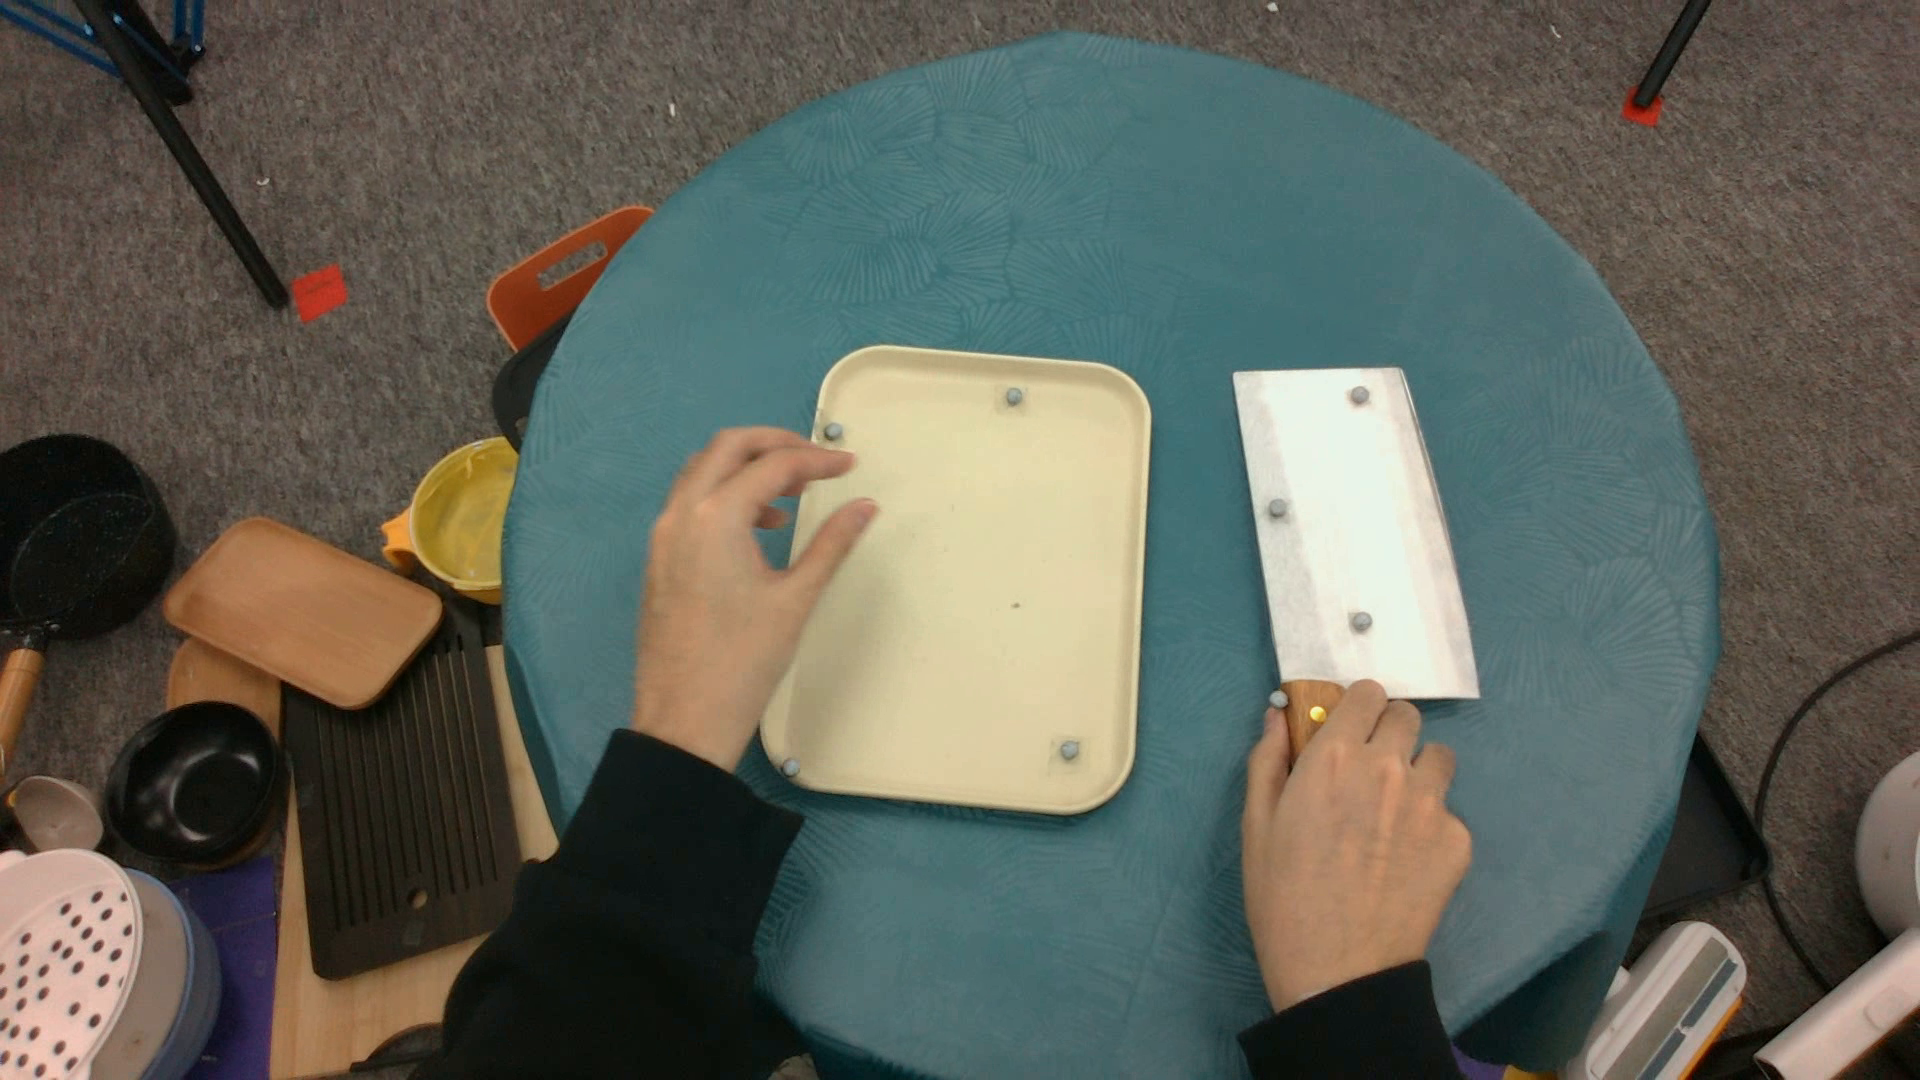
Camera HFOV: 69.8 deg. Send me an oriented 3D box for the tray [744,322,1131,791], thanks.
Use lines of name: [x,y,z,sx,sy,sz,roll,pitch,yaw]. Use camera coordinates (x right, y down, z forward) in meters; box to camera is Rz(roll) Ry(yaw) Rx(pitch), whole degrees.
tray: [-0.005,0.002,0.662,0.171,0.017,0.240,5,63,1]

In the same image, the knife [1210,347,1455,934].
knife: [0.181,0.030,0.648,0.093,0.021,0.307,-1,59,-2]
